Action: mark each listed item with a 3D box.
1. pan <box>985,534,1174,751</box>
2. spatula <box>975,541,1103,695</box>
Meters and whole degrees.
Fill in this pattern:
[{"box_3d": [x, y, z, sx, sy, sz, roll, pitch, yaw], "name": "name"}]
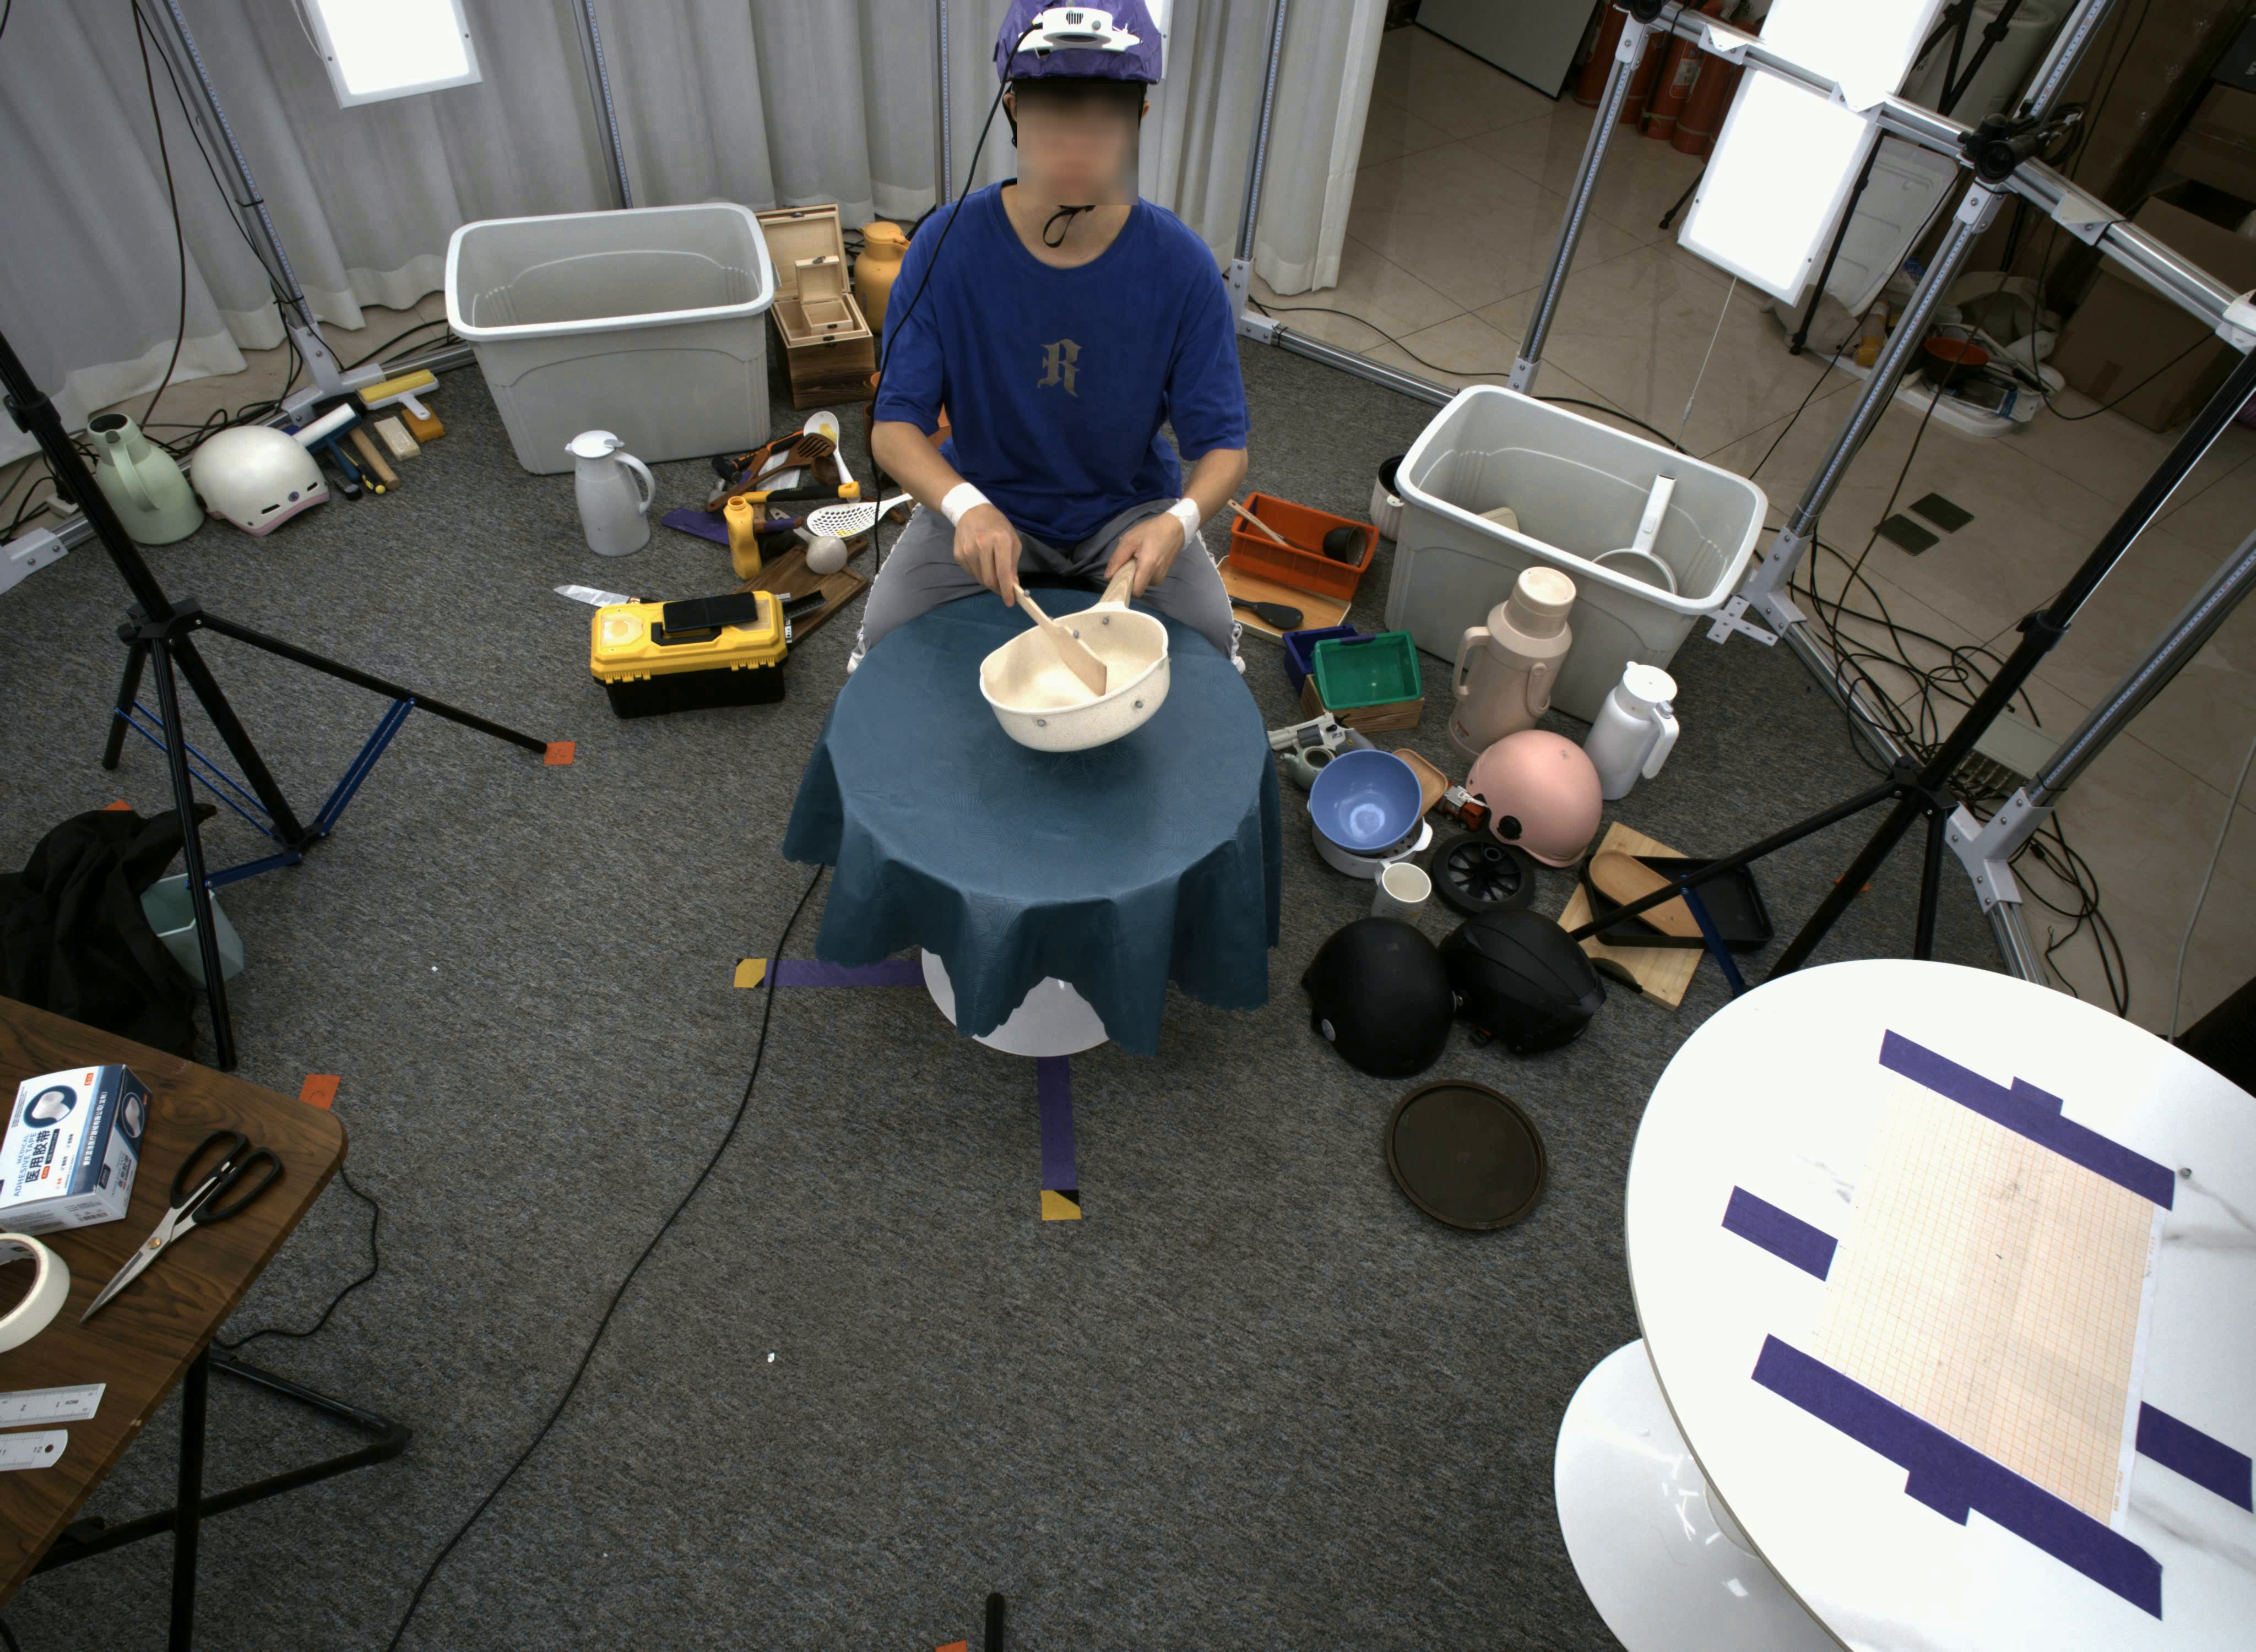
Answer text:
[{"box_3d": [-0.029, -0.251, 1.748, 0.264, 0.099, 0.443, -1, 38, 24], "name": "pan"}, {"box_3d": [-0.123, -0.288, 1.724, 0.011, 0.070, 0.298, -31, 63, -19], "name": "spatula"}]
